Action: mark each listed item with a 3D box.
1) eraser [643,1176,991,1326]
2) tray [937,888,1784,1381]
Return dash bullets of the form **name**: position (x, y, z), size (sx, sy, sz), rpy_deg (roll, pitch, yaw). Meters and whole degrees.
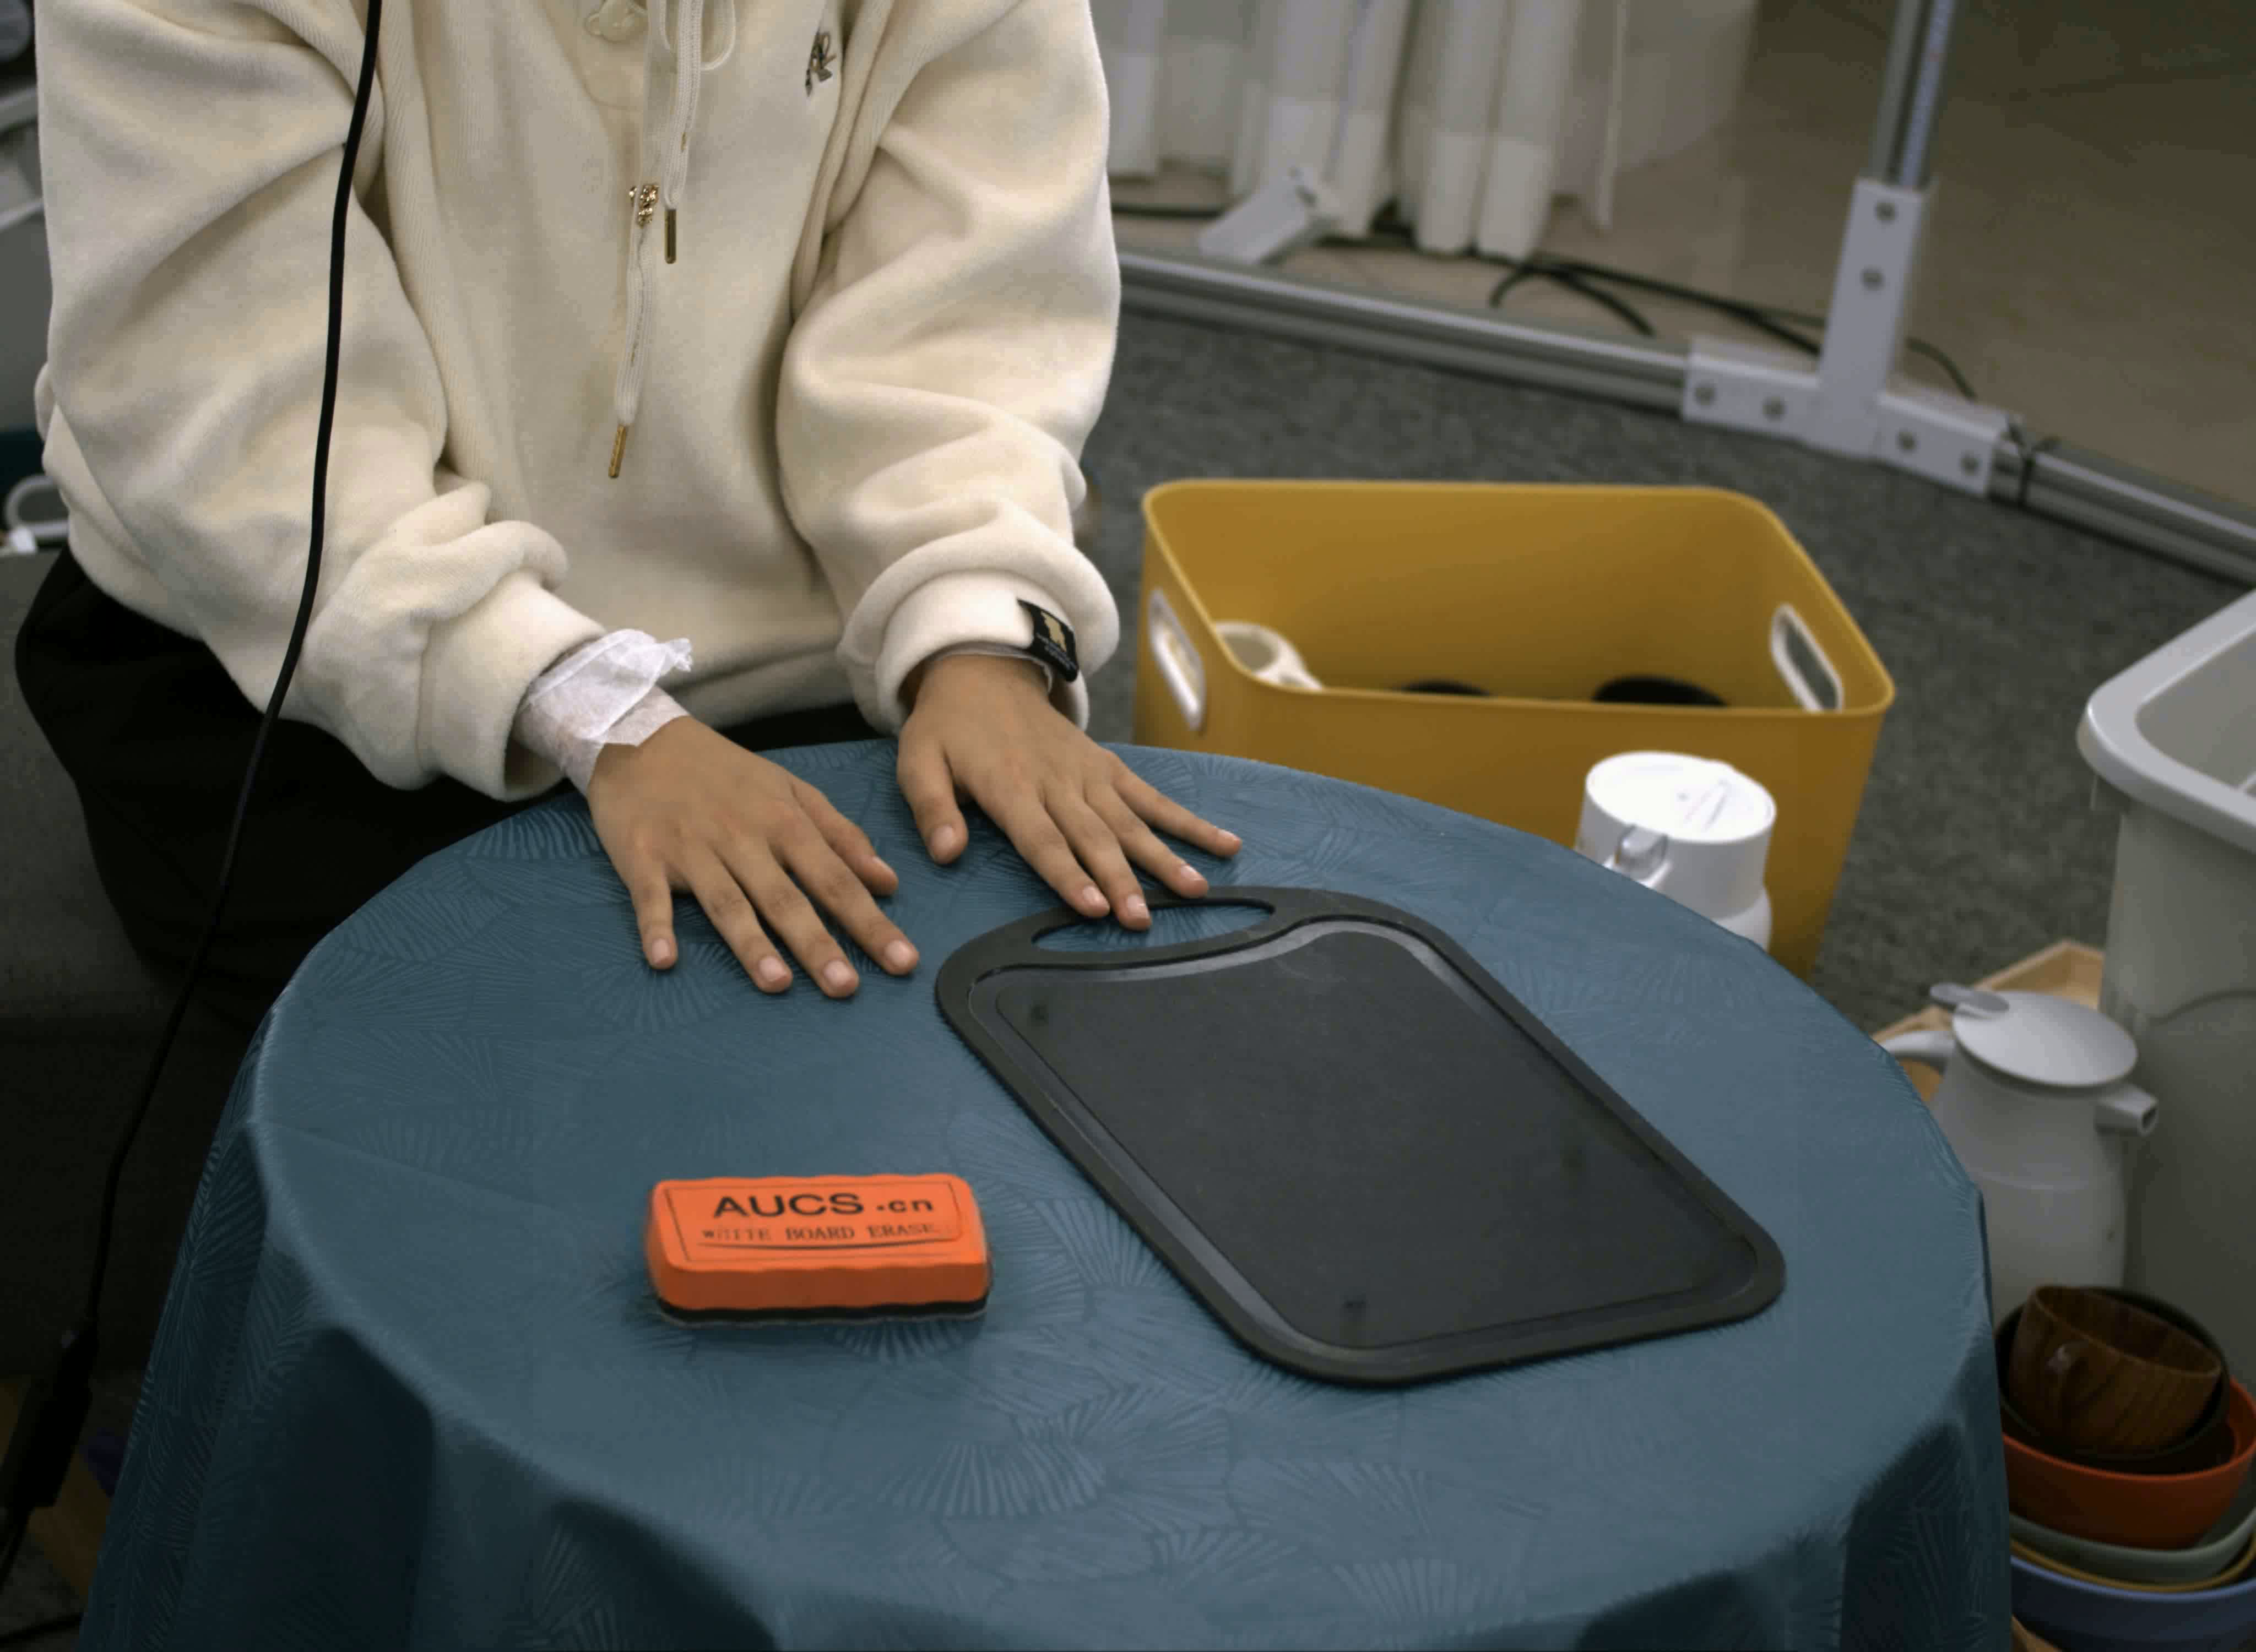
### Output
- **eraser**: position (-0.101, 0.138, 1.725), size (0.107, 0.023, 0.059), rpy_deg (0, 28, -13)
- **tray**: position (0.072, 0.098, 1.861), size (0.210, 0.010, 0.328), rpy_deg (-8, 30, -26)
